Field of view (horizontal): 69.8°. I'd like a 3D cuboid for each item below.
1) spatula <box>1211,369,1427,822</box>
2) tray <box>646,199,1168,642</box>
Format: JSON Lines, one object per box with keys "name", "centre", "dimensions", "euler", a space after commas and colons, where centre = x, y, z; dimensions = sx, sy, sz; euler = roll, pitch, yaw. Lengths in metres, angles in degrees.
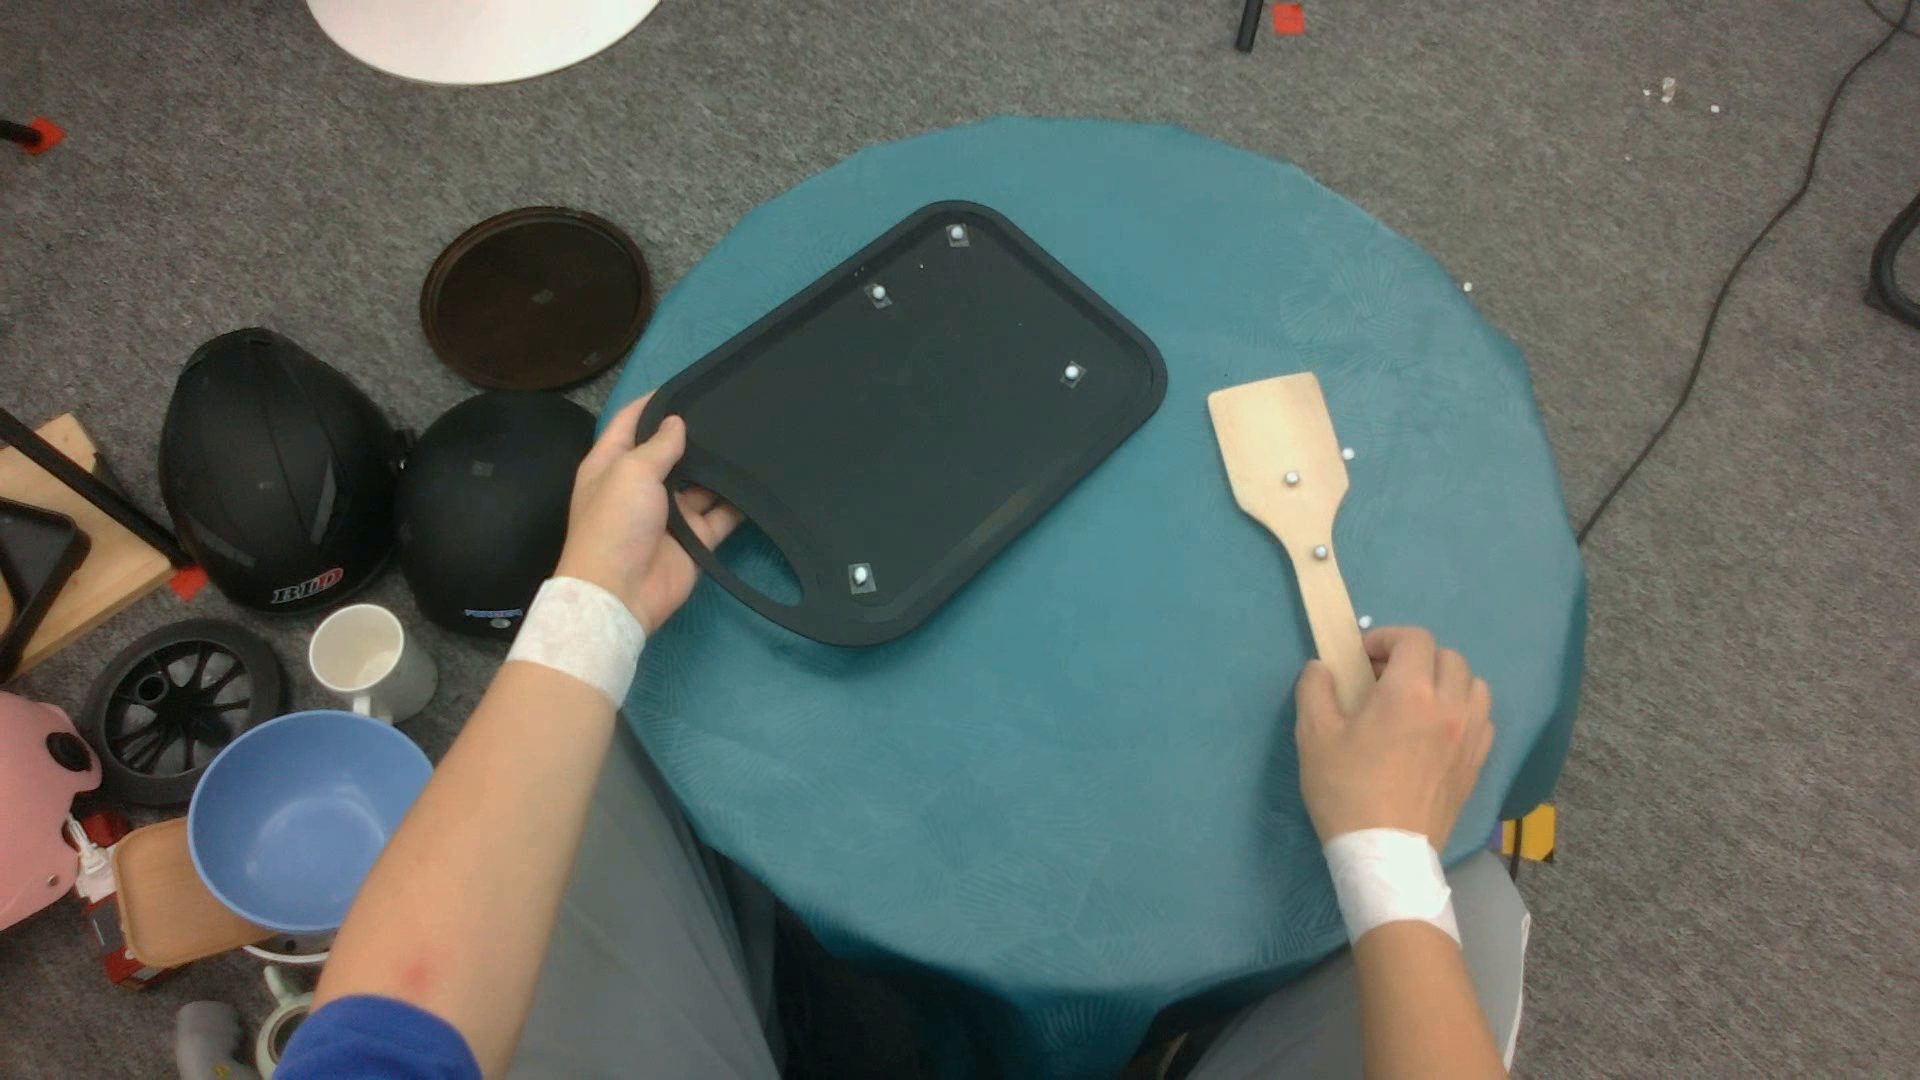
{"name": "spatula", "centre": [0.218, 0.024, 0.813], "dimensions": [0.072, 0.010, 0.294], "euler": [-12, 62, 3]}
{"name": "tray", "centre": [-0.029, -0.082, 0.847], "dimensions": [0.211, 0.010, 0.327], "euler": [42, 64, 13]}
